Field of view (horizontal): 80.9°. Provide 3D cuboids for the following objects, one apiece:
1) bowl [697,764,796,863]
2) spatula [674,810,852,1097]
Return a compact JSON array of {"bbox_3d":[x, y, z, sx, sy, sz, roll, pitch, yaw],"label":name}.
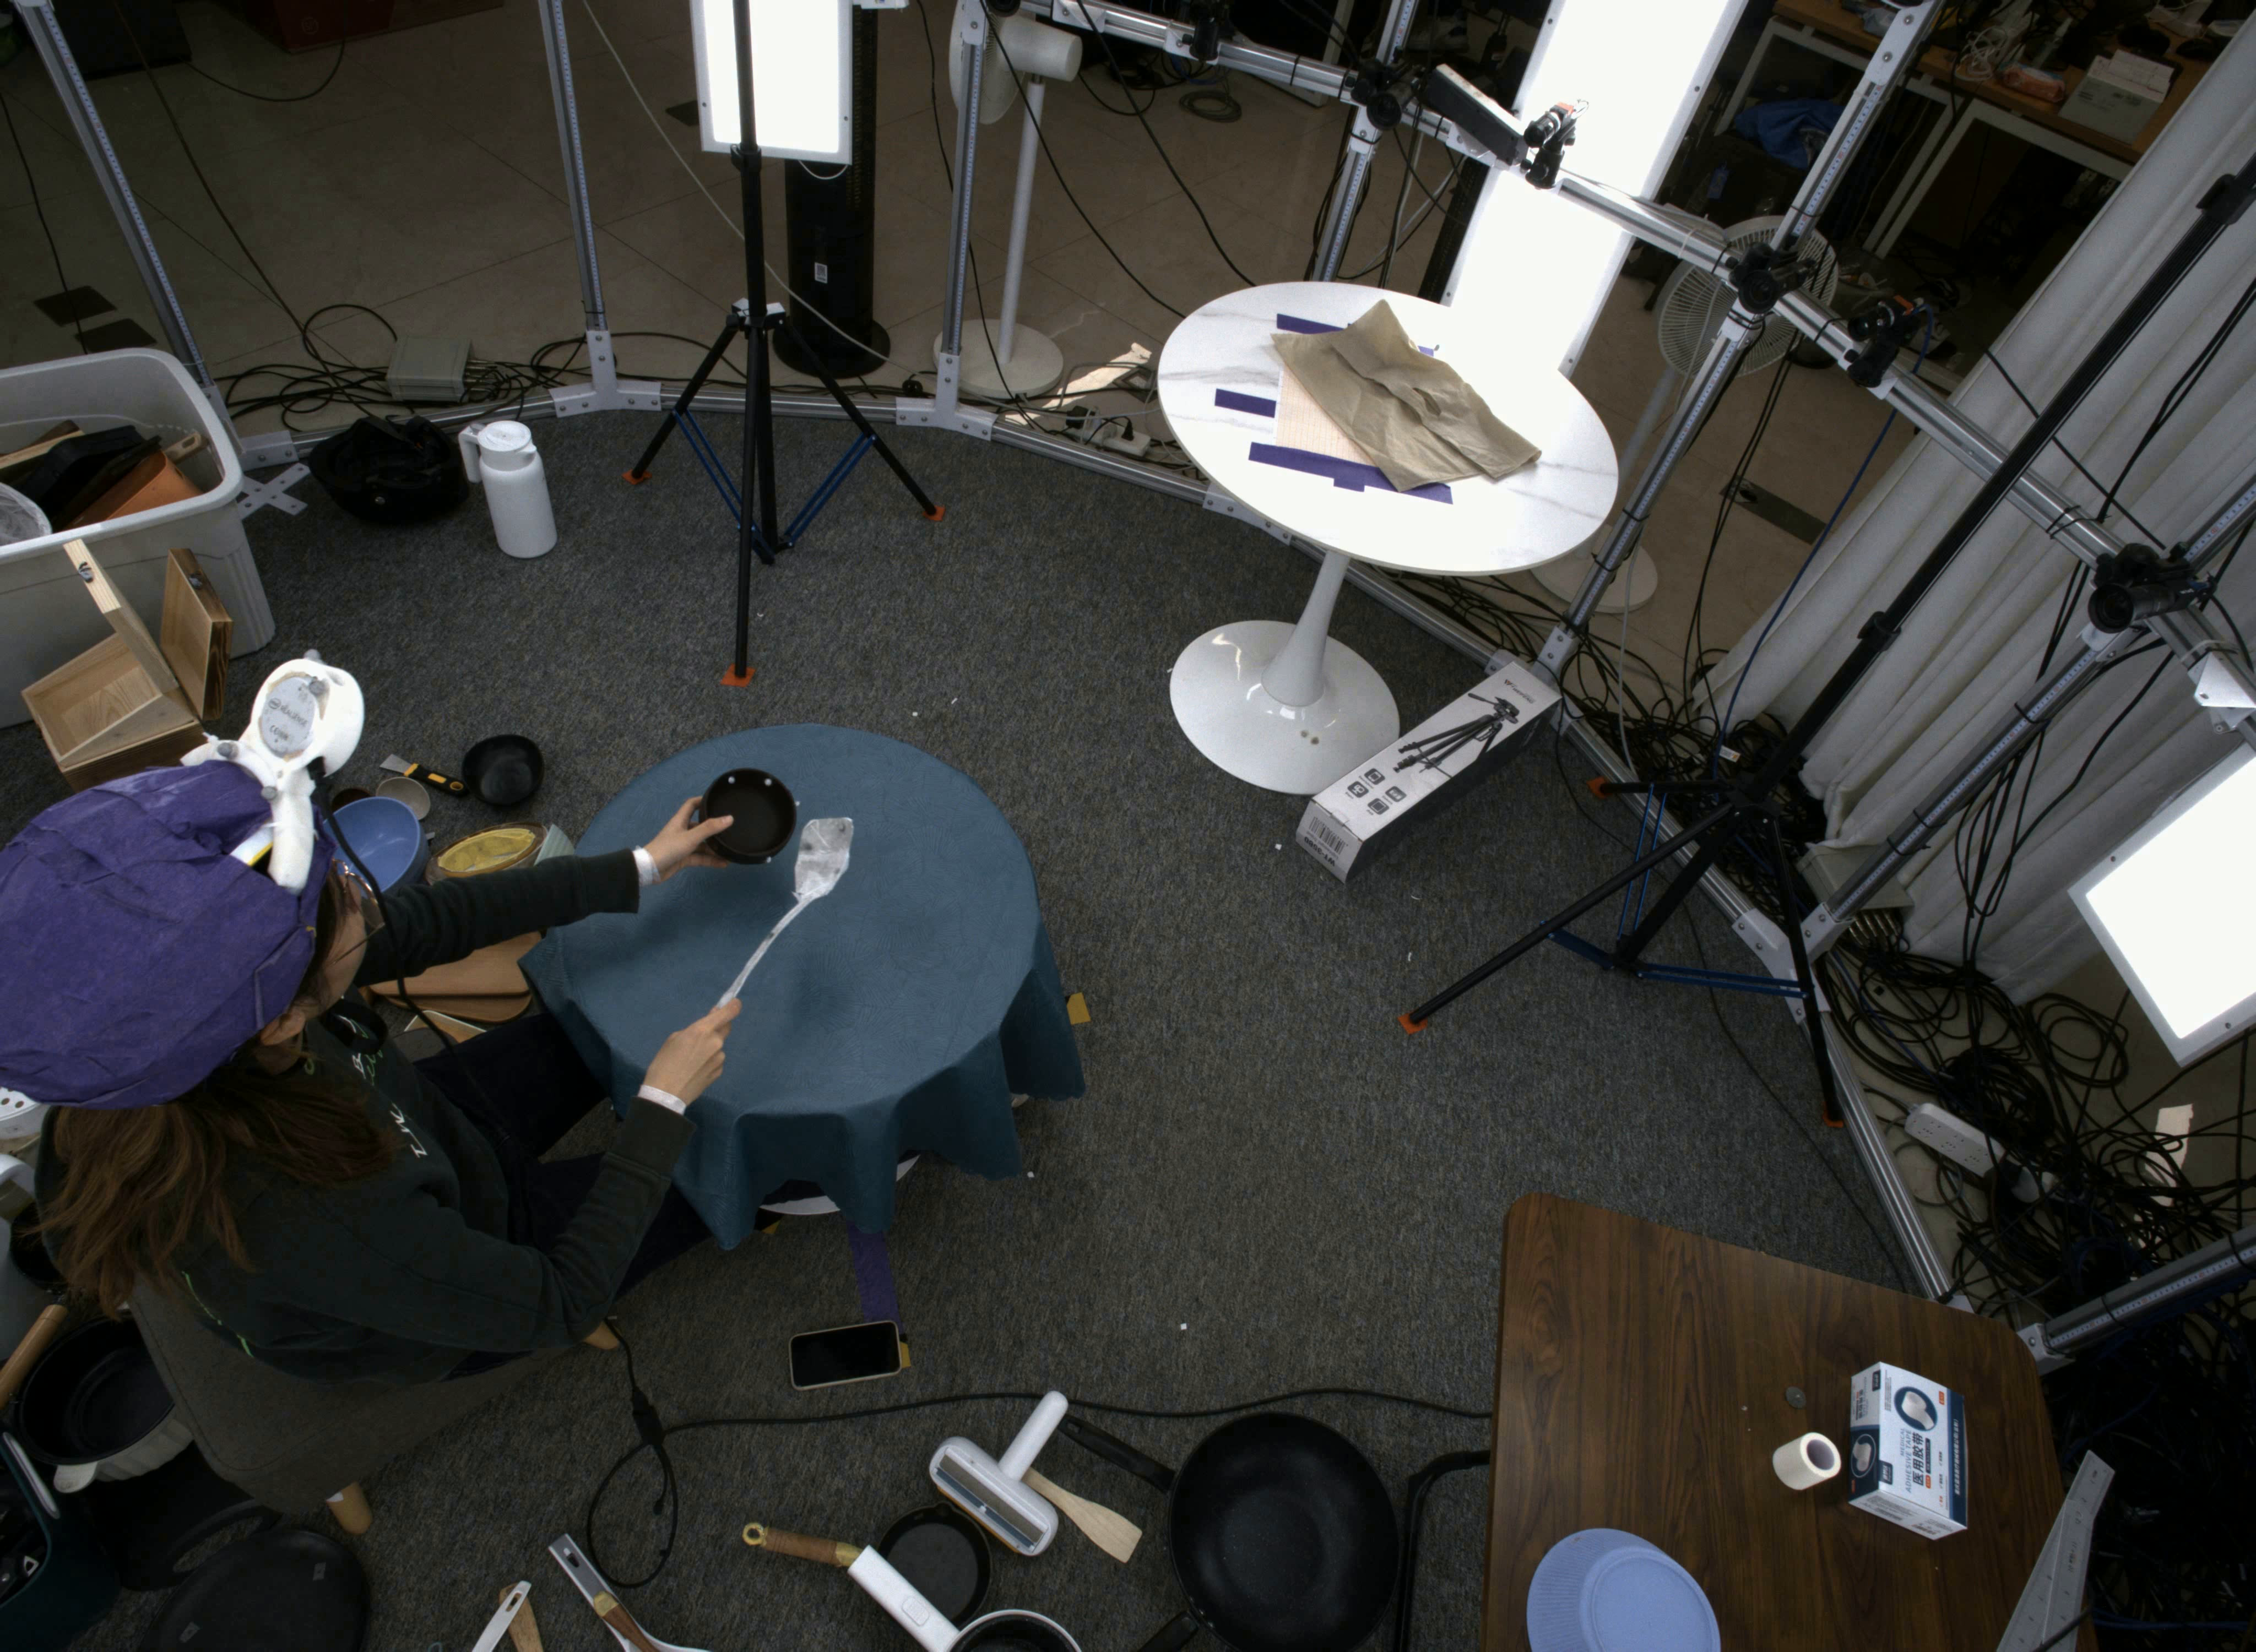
[{"bbox_3d":[-0.476,-0.010,1.603,0.120,0.069,0.117,11,67,-24],"label":"bowl"},{"bbox_3d":[-0.414,0.134,1.447,0.095,0.046,0.363,2,52,40],"label":"spatula"}]
